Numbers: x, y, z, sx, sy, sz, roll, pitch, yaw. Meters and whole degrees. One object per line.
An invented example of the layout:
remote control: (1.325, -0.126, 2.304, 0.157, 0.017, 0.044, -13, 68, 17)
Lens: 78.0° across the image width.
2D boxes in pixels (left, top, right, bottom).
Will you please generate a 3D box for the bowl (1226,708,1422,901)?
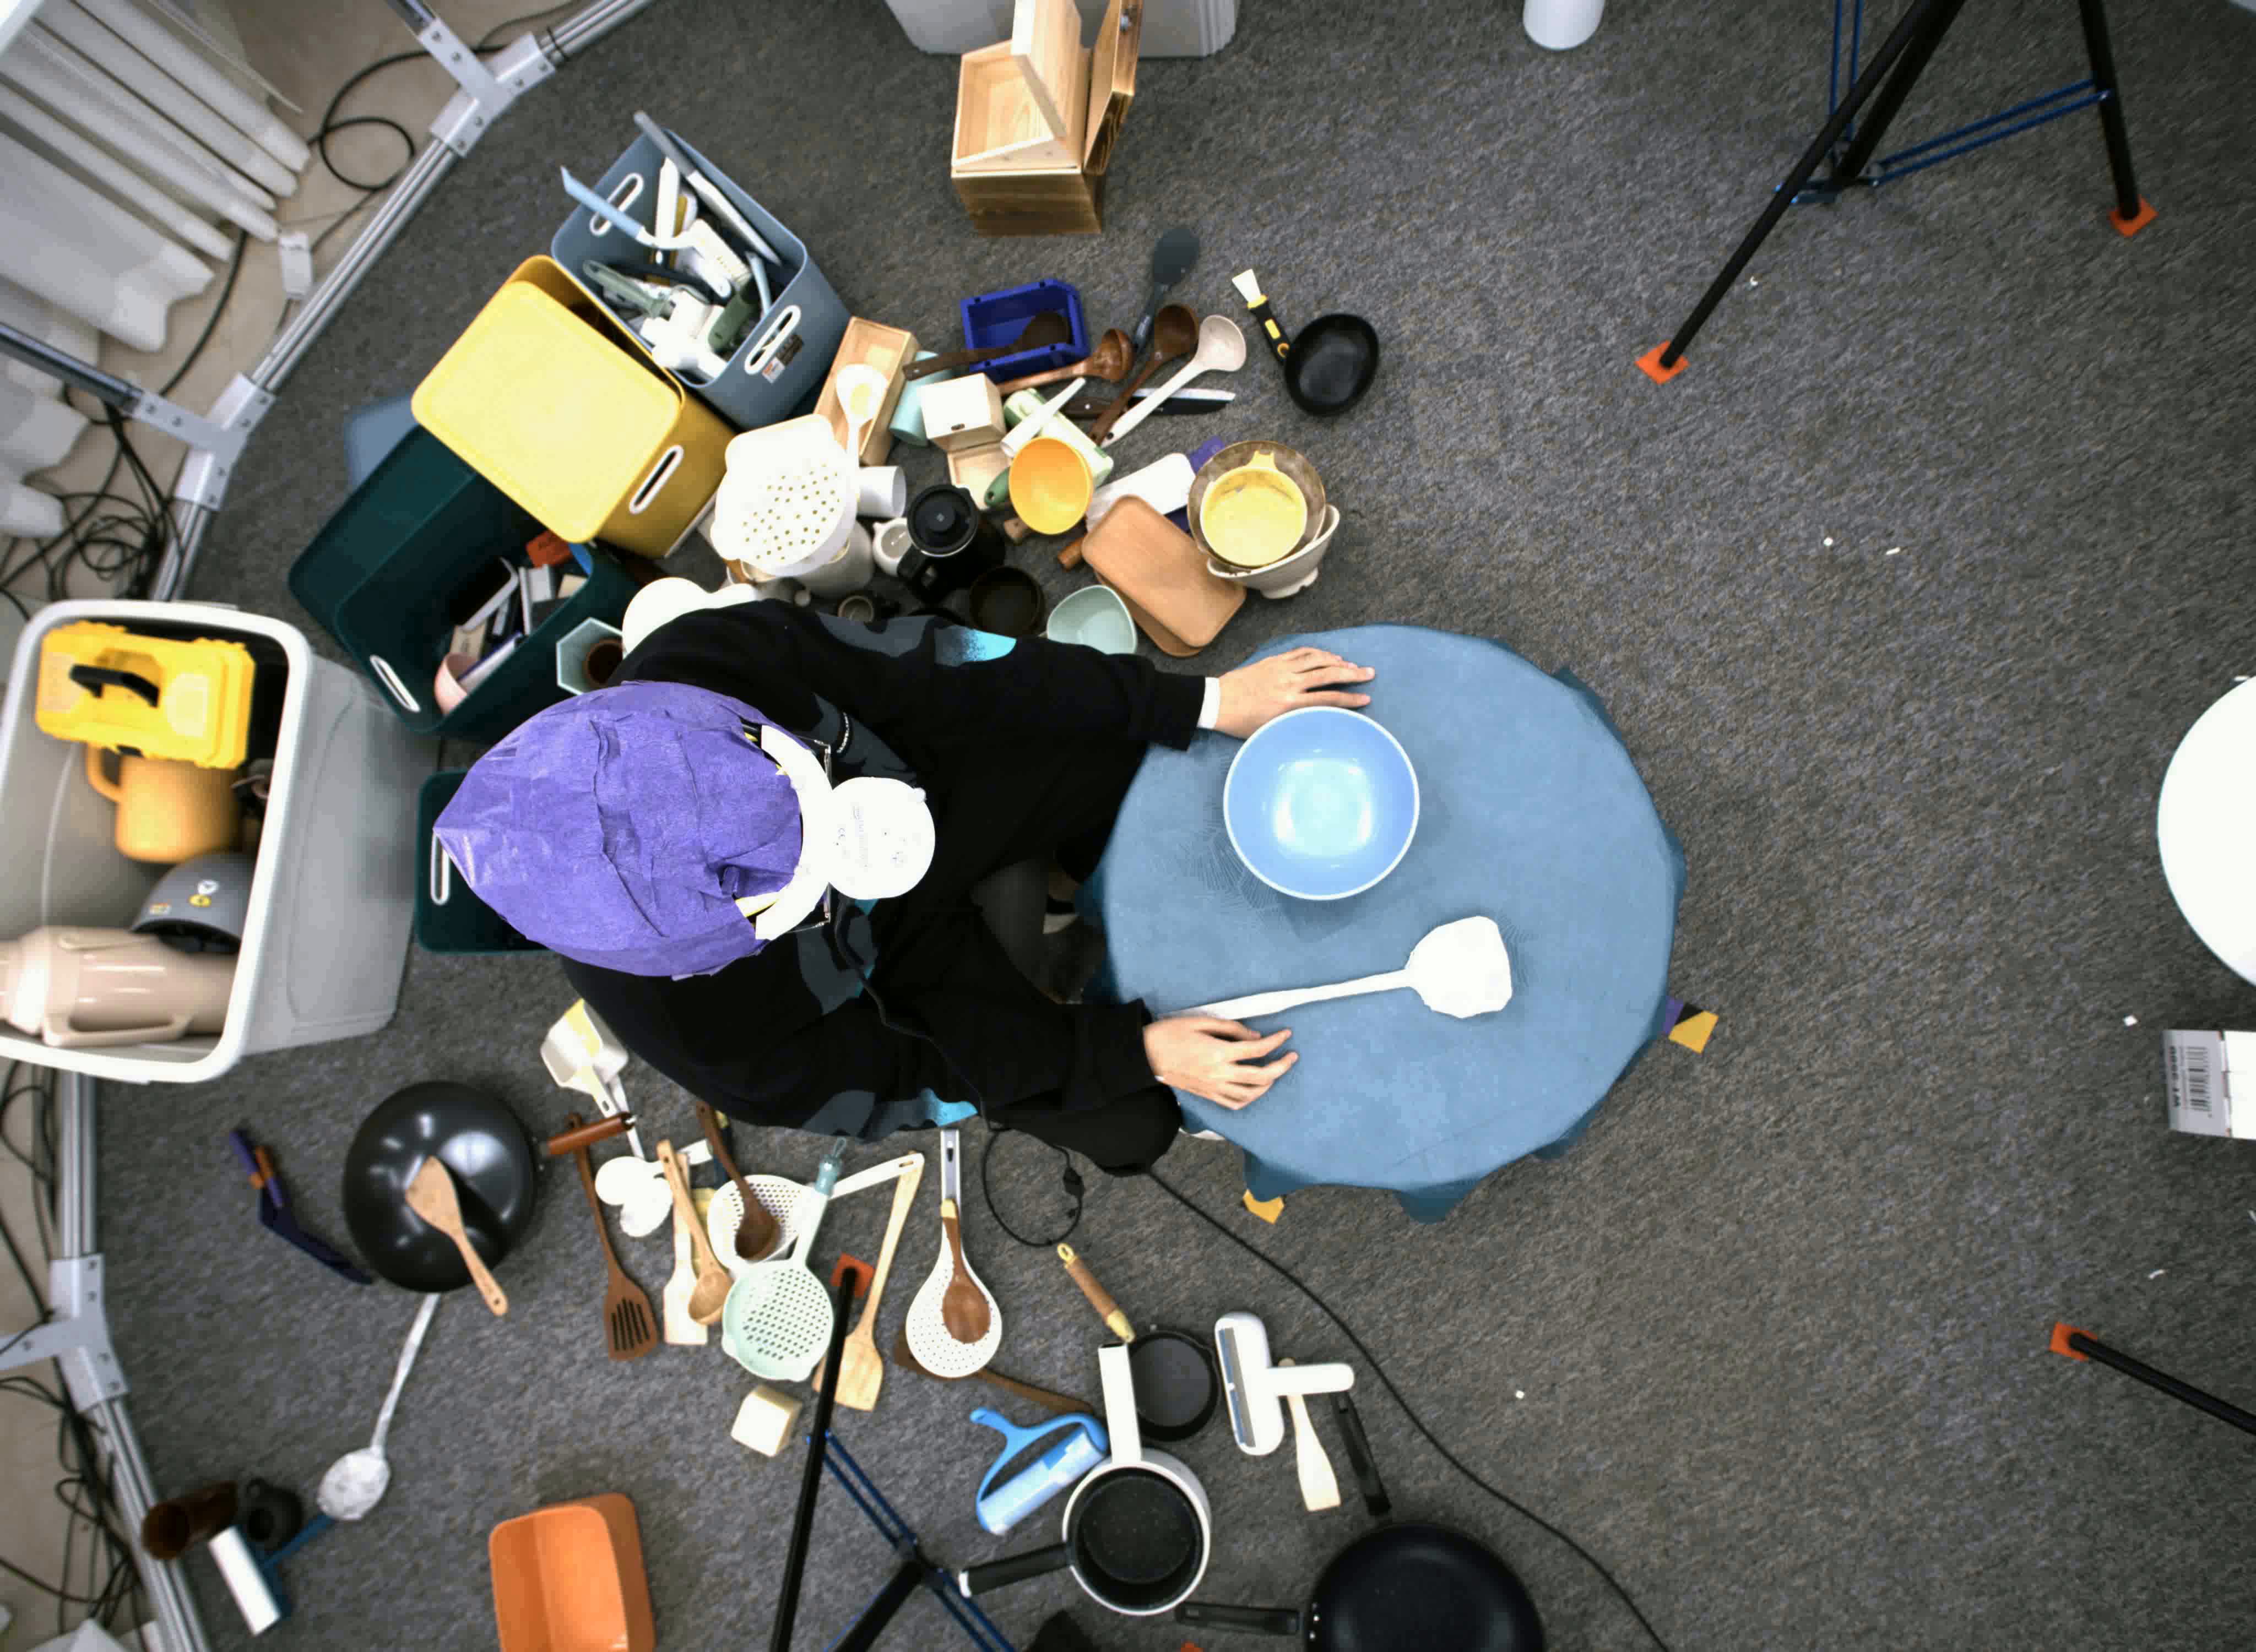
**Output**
bowl: (0.203, -0.018, 1.434, 0.197, 0.095, 0.195, -1, 86, 9)

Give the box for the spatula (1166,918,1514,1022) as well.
spatula: (0.216, 0.170, 1.448, 0.367, 0.045, 0.098, -10, 85, 9)
